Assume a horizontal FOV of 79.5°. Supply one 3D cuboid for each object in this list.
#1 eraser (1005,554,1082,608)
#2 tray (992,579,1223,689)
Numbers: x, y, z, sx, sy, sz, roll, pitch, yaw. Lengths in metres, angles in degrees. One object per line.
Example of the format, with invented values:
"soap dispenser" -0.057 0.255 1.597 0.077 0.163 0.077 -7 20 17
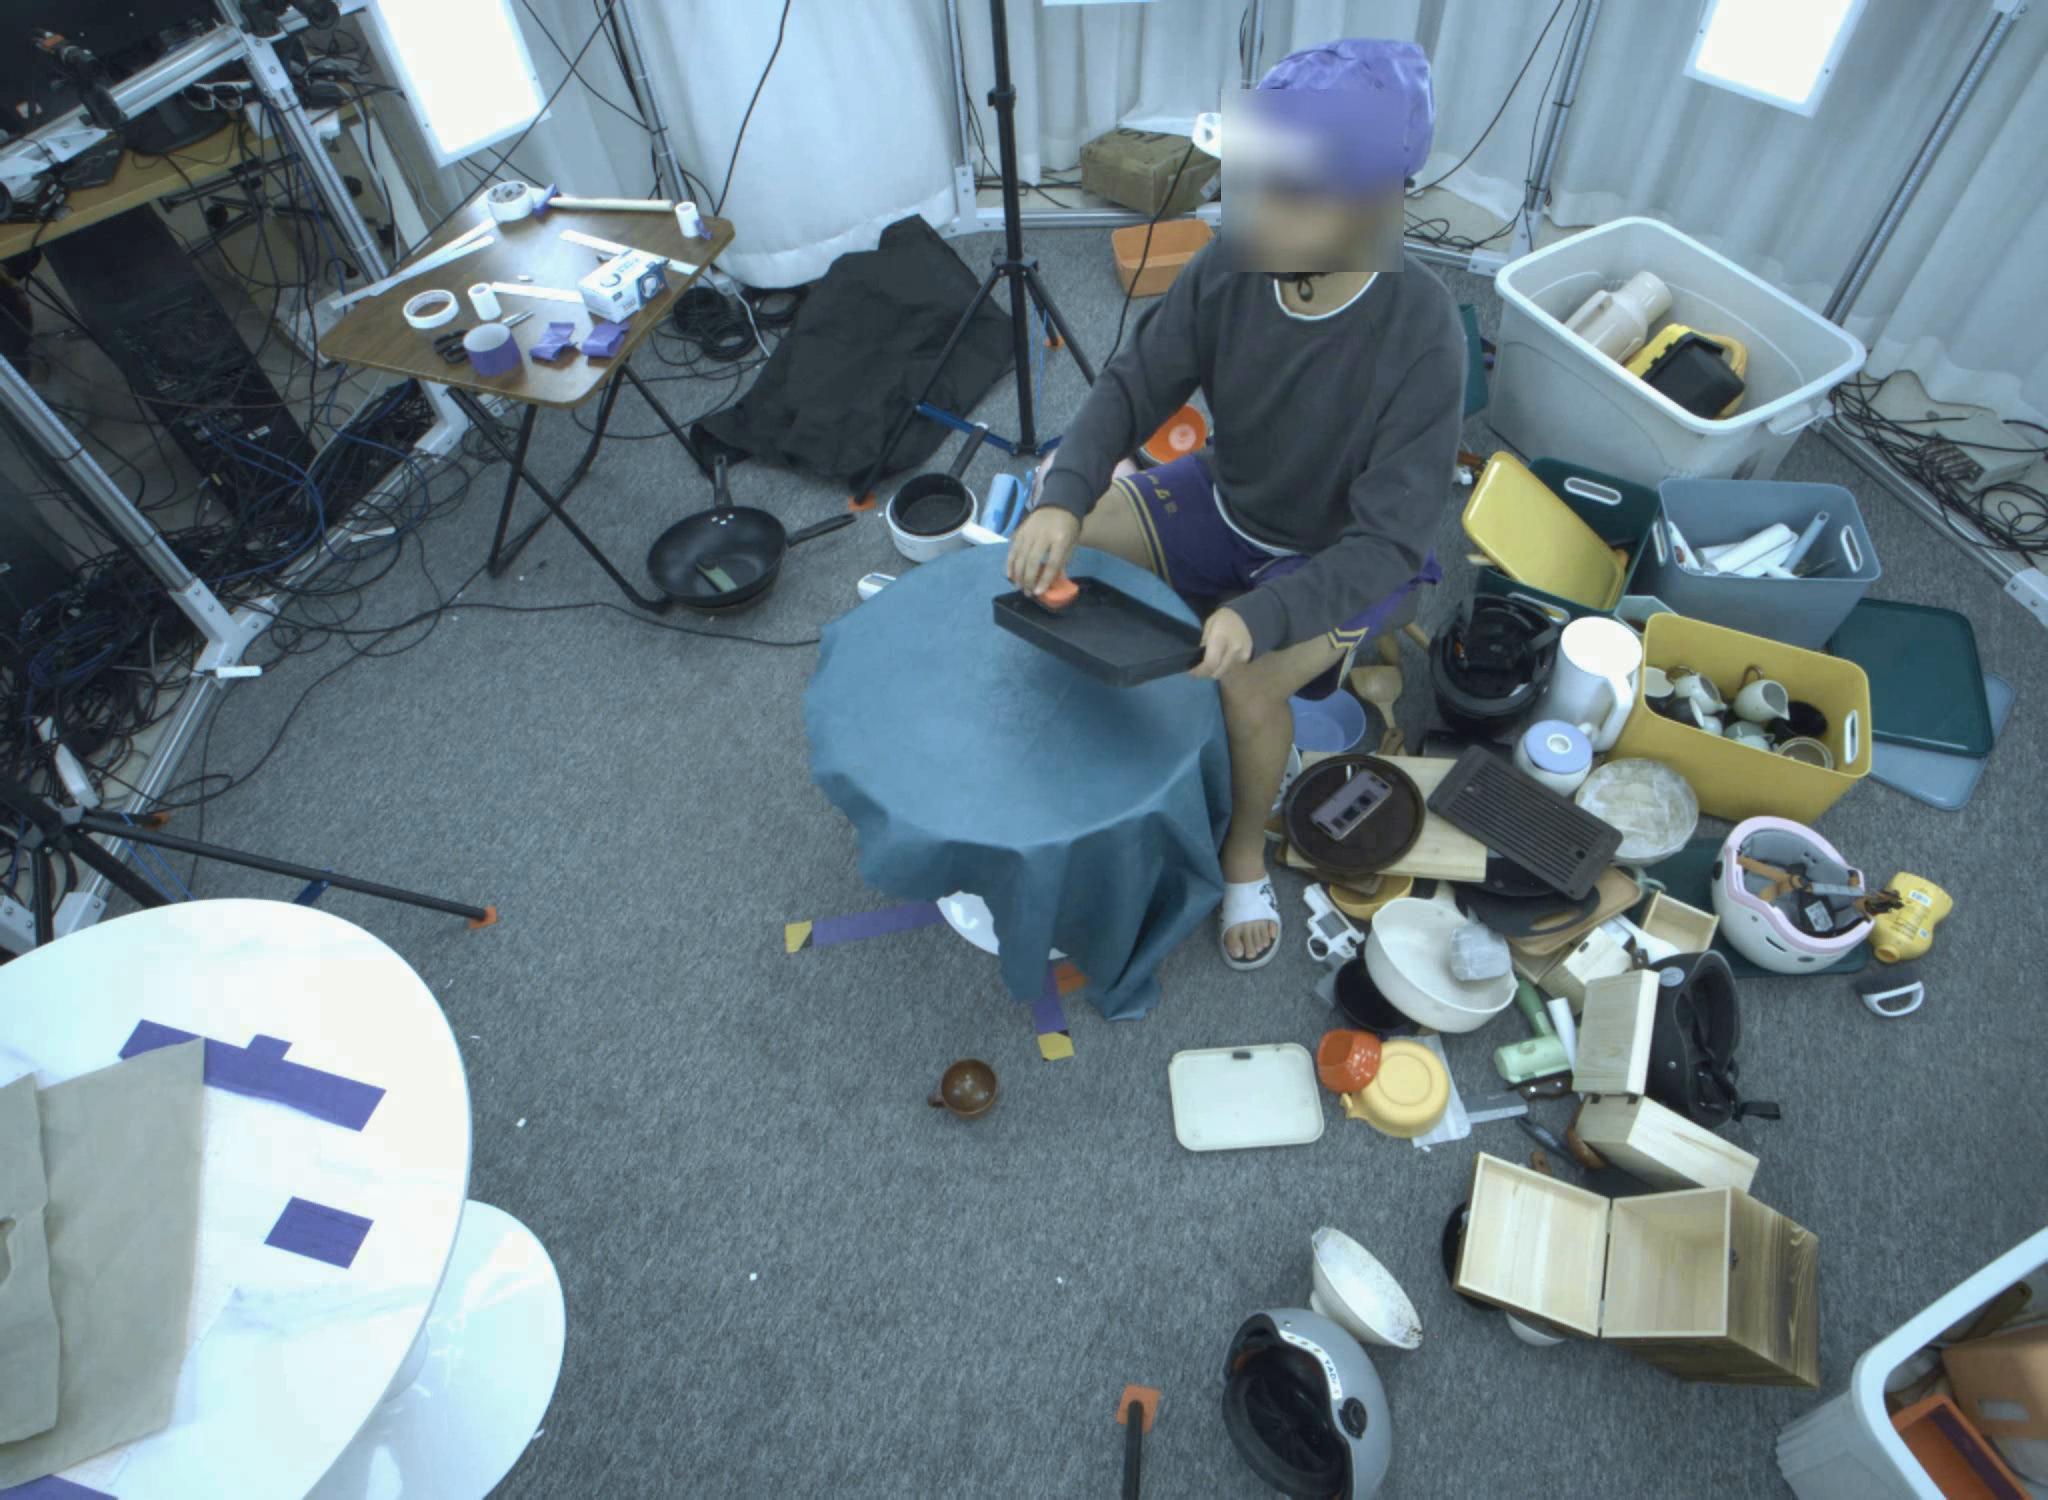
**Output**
"eraser" 0.028 -0.250 1.813 0.106 0.023 0.060 37 39 22
"tray" 0.110 -0.167 1.722 0.187 0.037 0.310 -17 32 -32
